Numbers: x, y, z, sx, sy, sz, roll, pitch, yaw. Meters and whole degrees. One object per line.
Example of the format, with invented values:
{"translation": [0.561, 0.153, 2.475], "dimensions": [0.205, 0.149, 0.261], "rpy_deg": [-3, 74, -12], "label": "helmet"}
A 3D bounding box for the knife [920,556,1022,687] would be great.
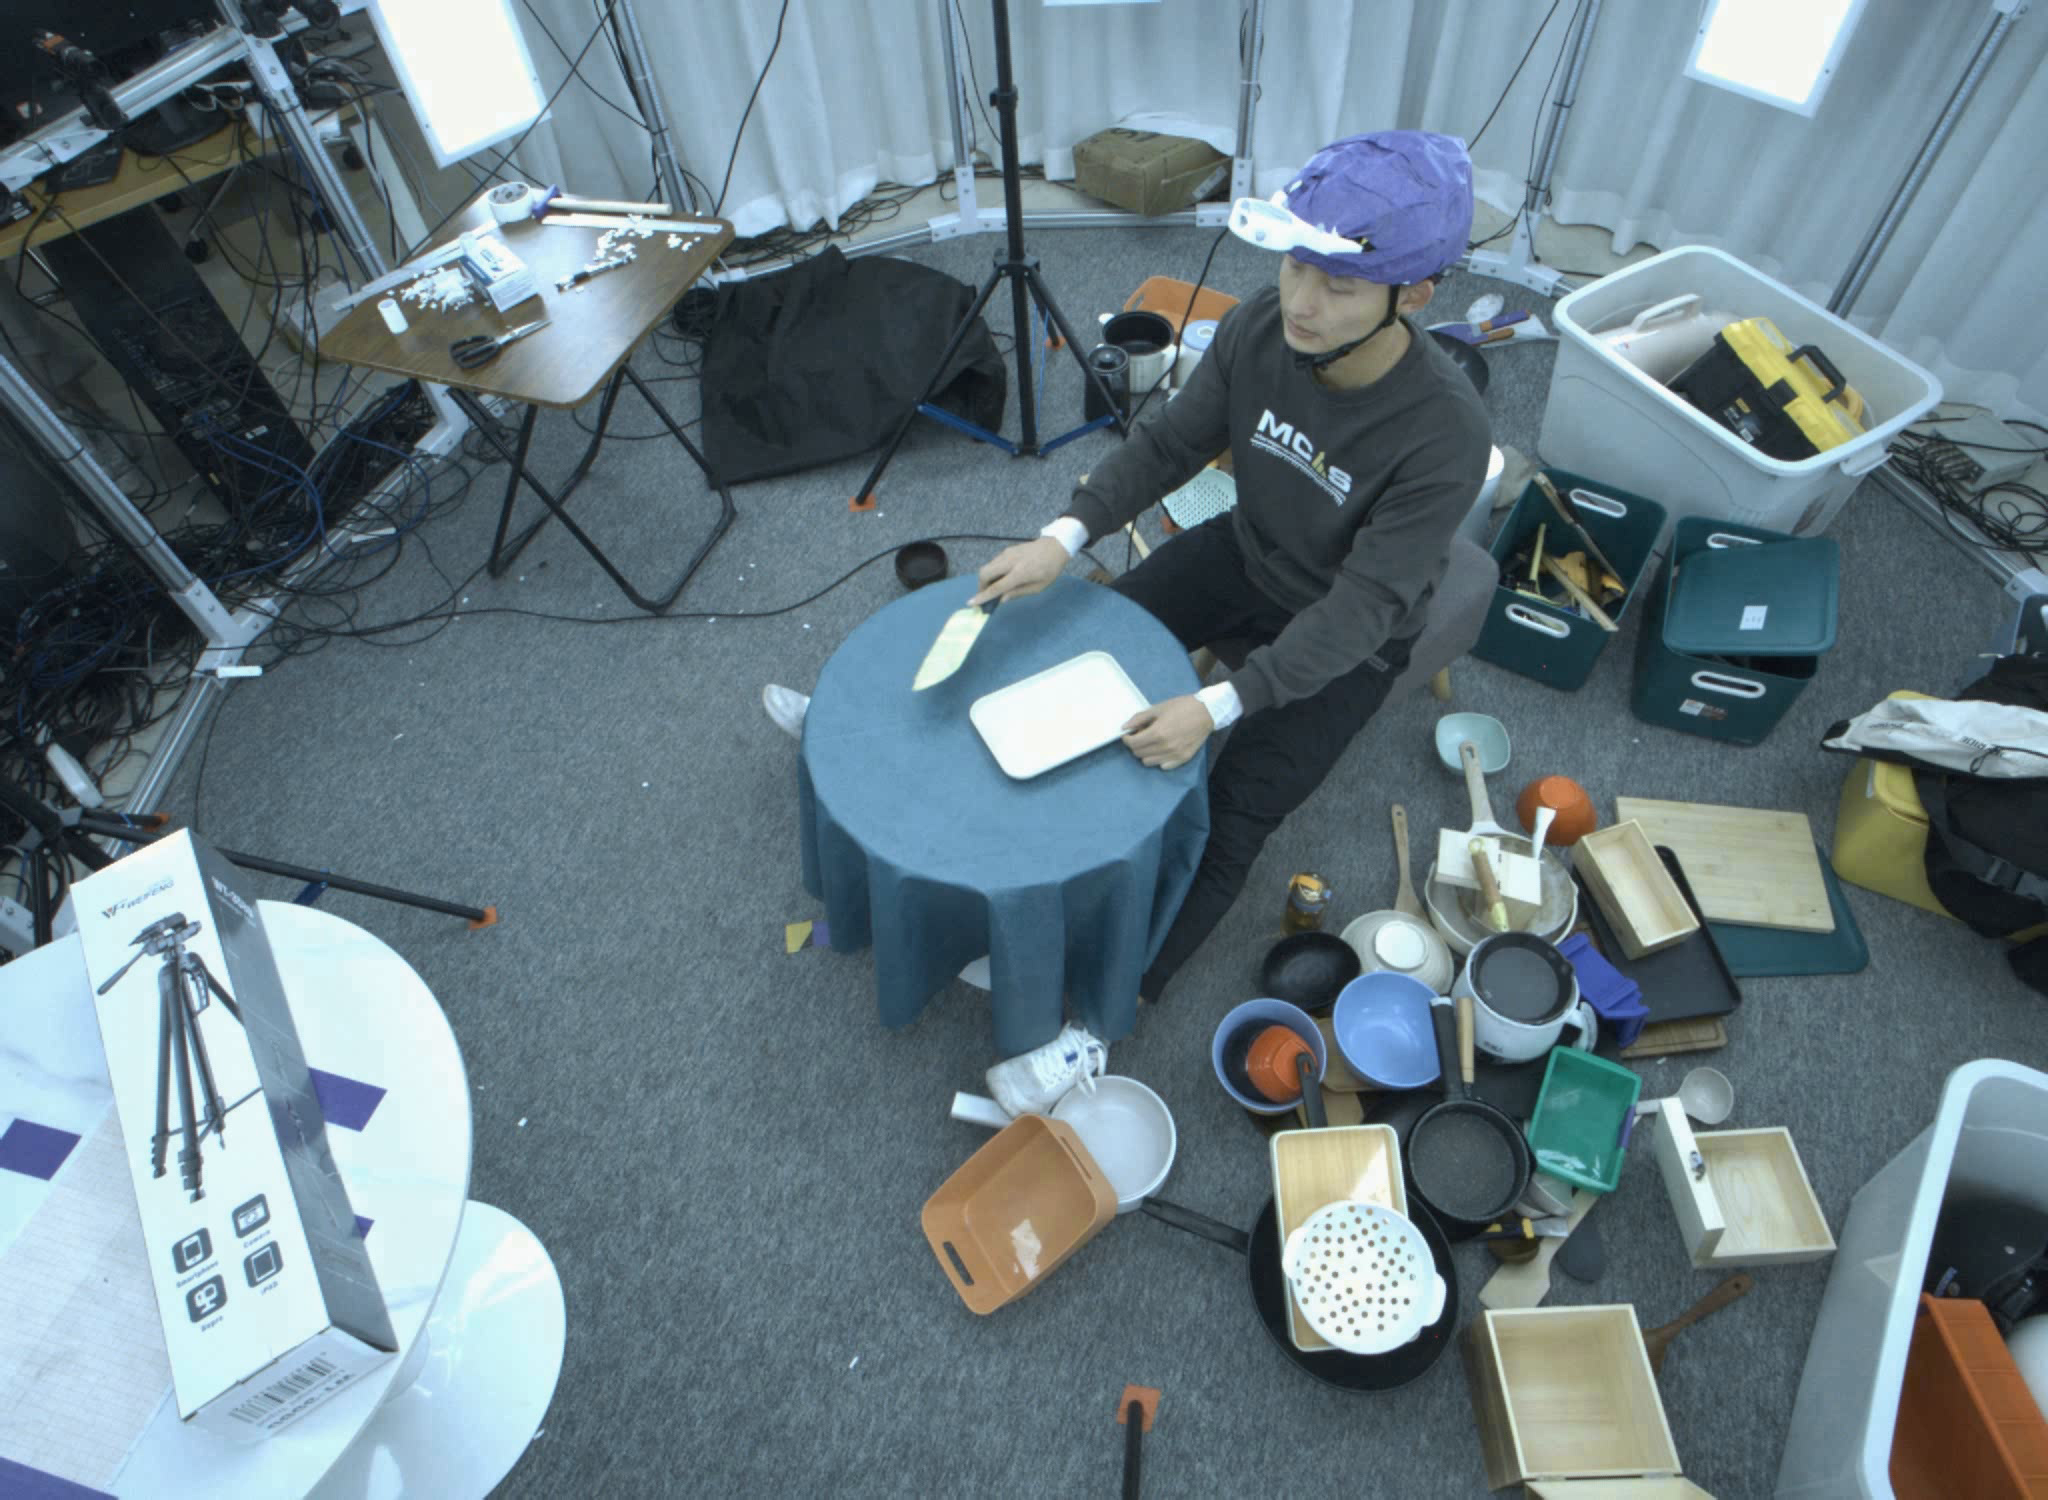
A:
{"translation": [-0.079, -0.195, 1.856], "dimensions": [0.079, 0.028, 0.290], "rpy_deg": [4, 49, 35], "label": "knife"}

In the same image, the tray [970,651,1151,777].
{"translation": [0.053, -0.053, 1.815], "dimensions": [0.241, 0.018, 0.168], "rpy_deg": [-24, 52, -14], "label": "tray"}
